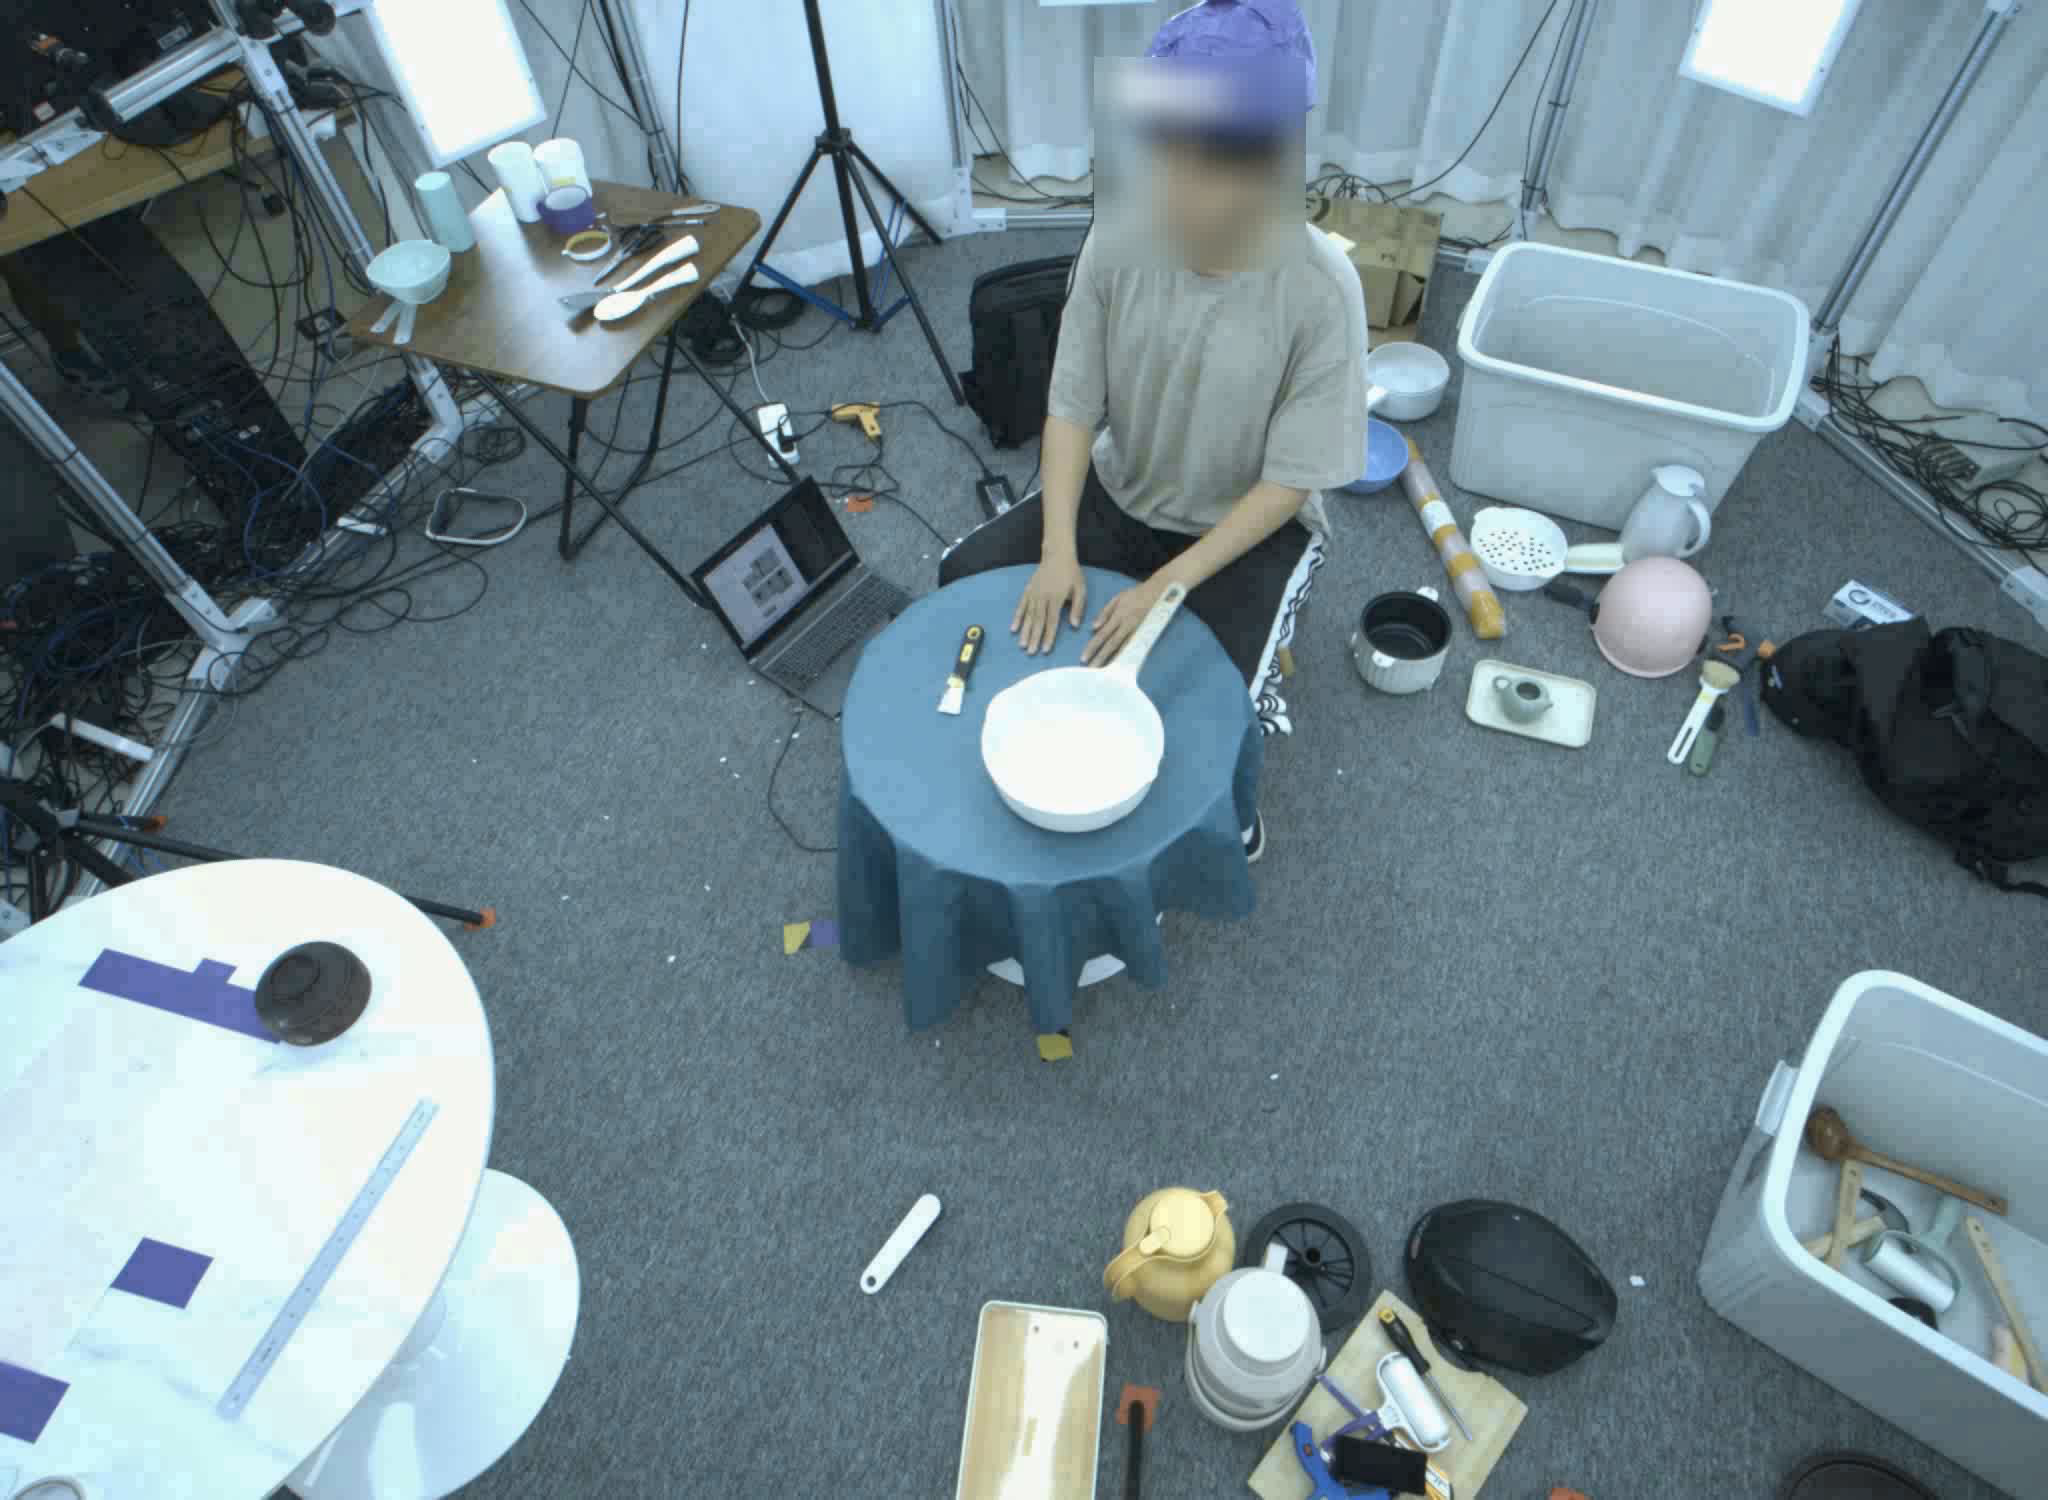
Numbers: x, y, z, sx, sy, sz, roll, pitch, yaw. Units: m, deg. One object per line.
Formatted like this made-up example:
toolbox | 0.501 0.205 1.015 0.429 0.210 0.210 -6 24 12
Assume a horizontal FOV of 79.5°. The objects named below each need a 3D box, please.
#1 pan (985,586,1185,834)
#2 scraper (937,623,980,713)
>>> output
pan | 0.123 -0.060 1.766 0.259 0.103 0.436 25 59 22
scraper | -0.097 -0.125 1.868 0.038 0.015 0.170 6 58 11
